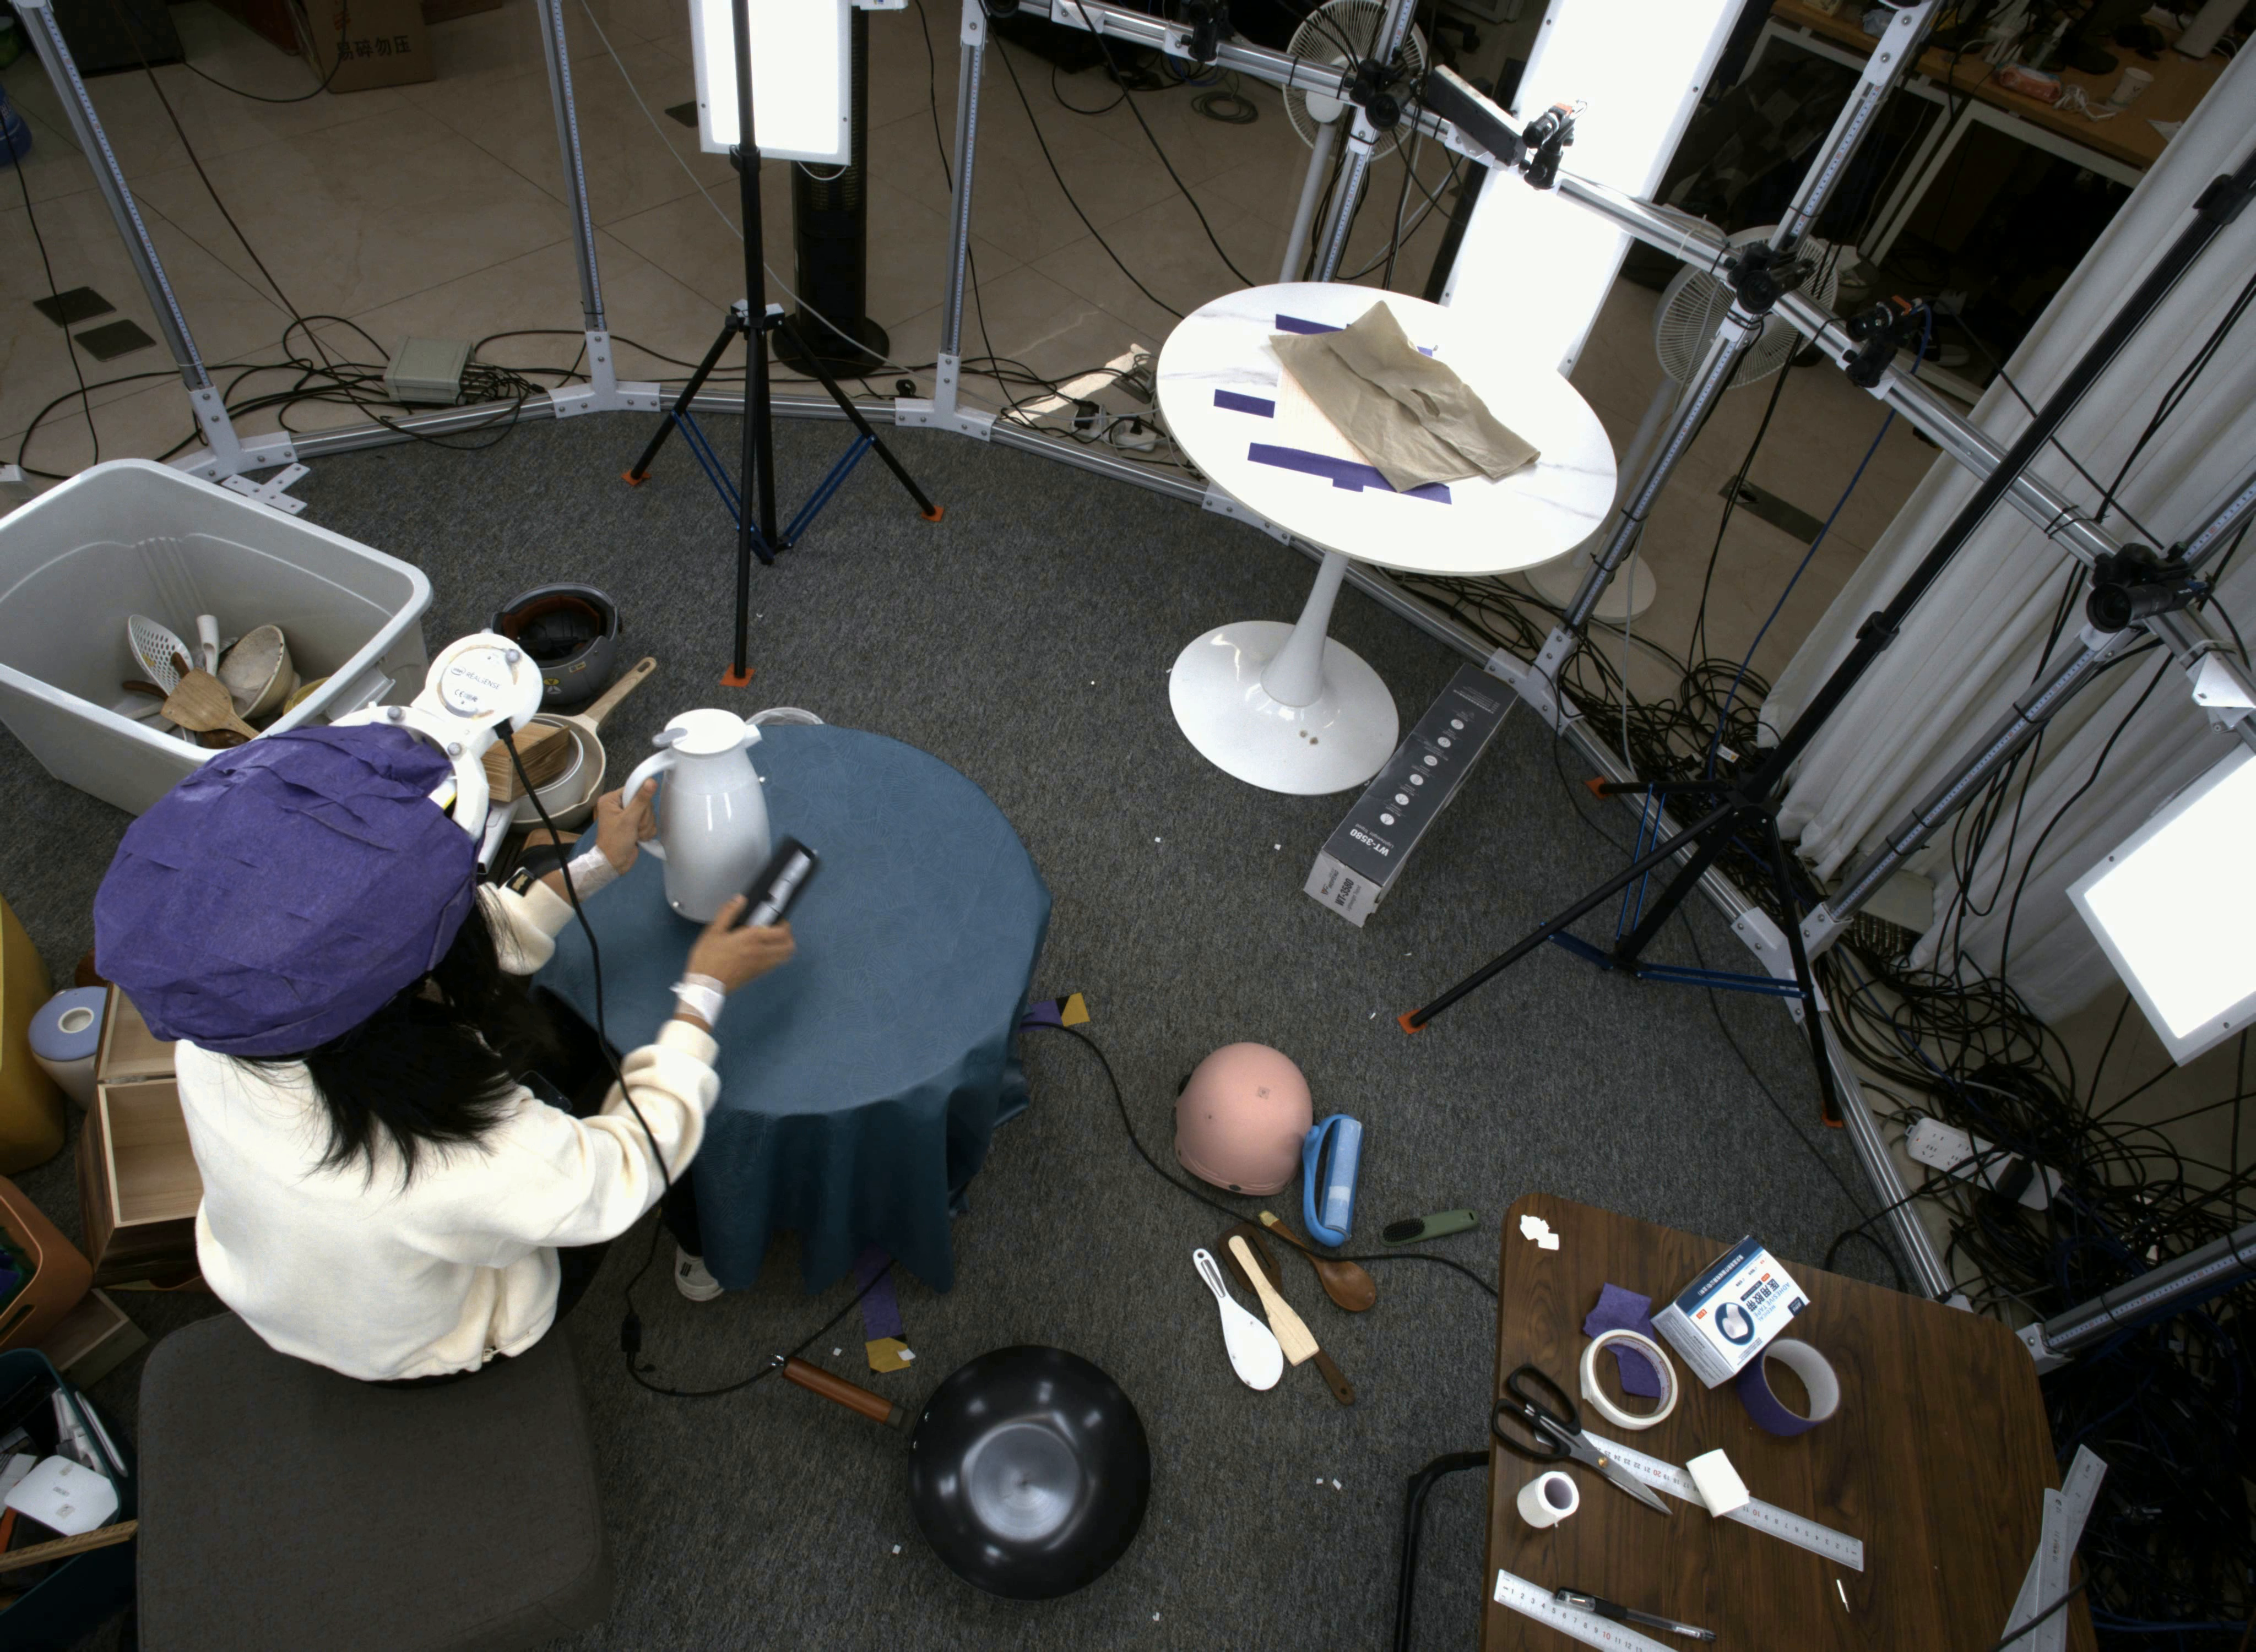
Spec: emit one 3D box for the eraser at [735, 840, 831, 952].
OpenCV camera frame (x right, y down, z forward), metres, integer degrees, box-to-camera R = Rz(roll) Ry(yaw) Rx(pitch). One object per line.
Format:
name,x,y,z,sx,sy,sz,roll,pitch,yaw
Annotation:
eraser,-0.404,0.079,1.514,0.055,0.029,0.125,43,63,-28

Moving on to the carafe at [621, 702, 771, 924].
carafe,-0.512,-0.017,1.521,0.169,0.255,0.128,-19,46,-30
